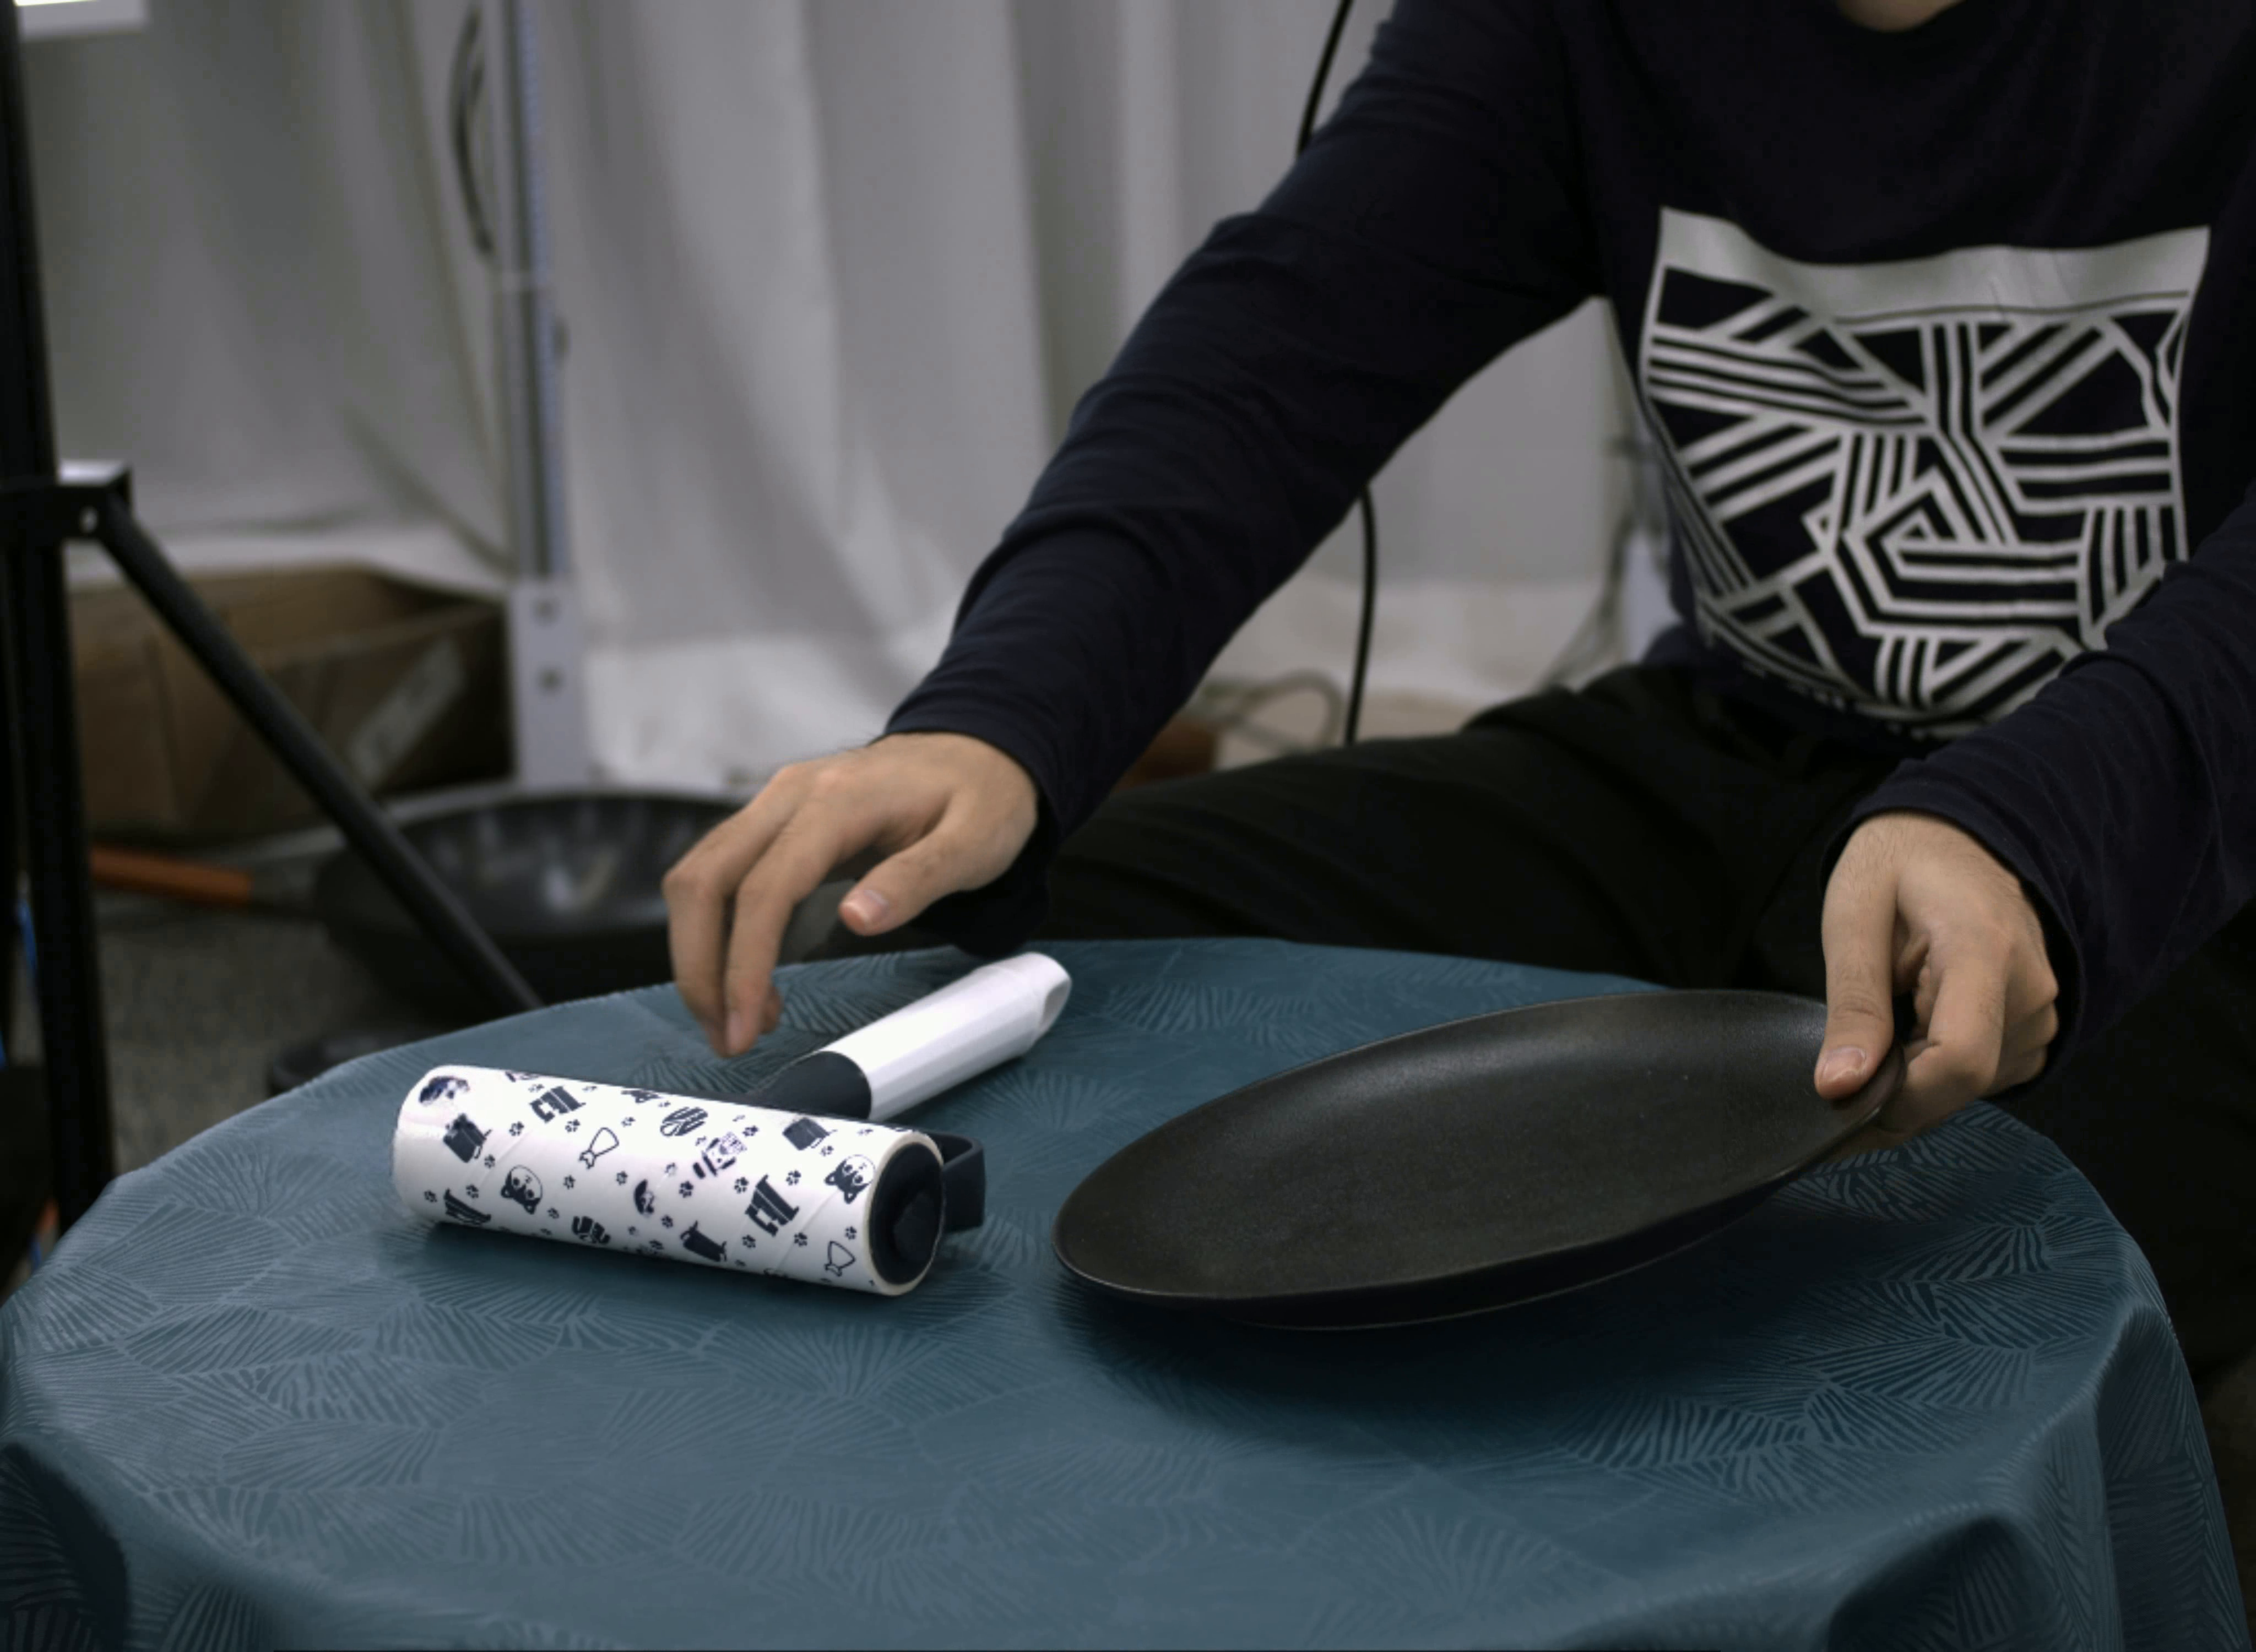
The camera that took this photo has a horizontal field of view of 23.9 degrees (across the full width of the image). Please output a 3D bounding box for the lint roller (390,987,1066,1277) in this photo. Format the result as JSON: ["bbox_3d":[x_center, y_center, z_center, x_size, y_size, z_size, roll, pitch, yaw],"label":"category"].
[{"bbox_3d":[-0.086,0.078,1.610,0.179,0.050,0.242,5,14,28],"label":"lint roller"}]

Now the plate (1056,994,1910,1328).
[{"bbox_3d":[0.100,0.097,1.482,0.243,0.023,0.245,-13,13,1],"label":"plate"}]
